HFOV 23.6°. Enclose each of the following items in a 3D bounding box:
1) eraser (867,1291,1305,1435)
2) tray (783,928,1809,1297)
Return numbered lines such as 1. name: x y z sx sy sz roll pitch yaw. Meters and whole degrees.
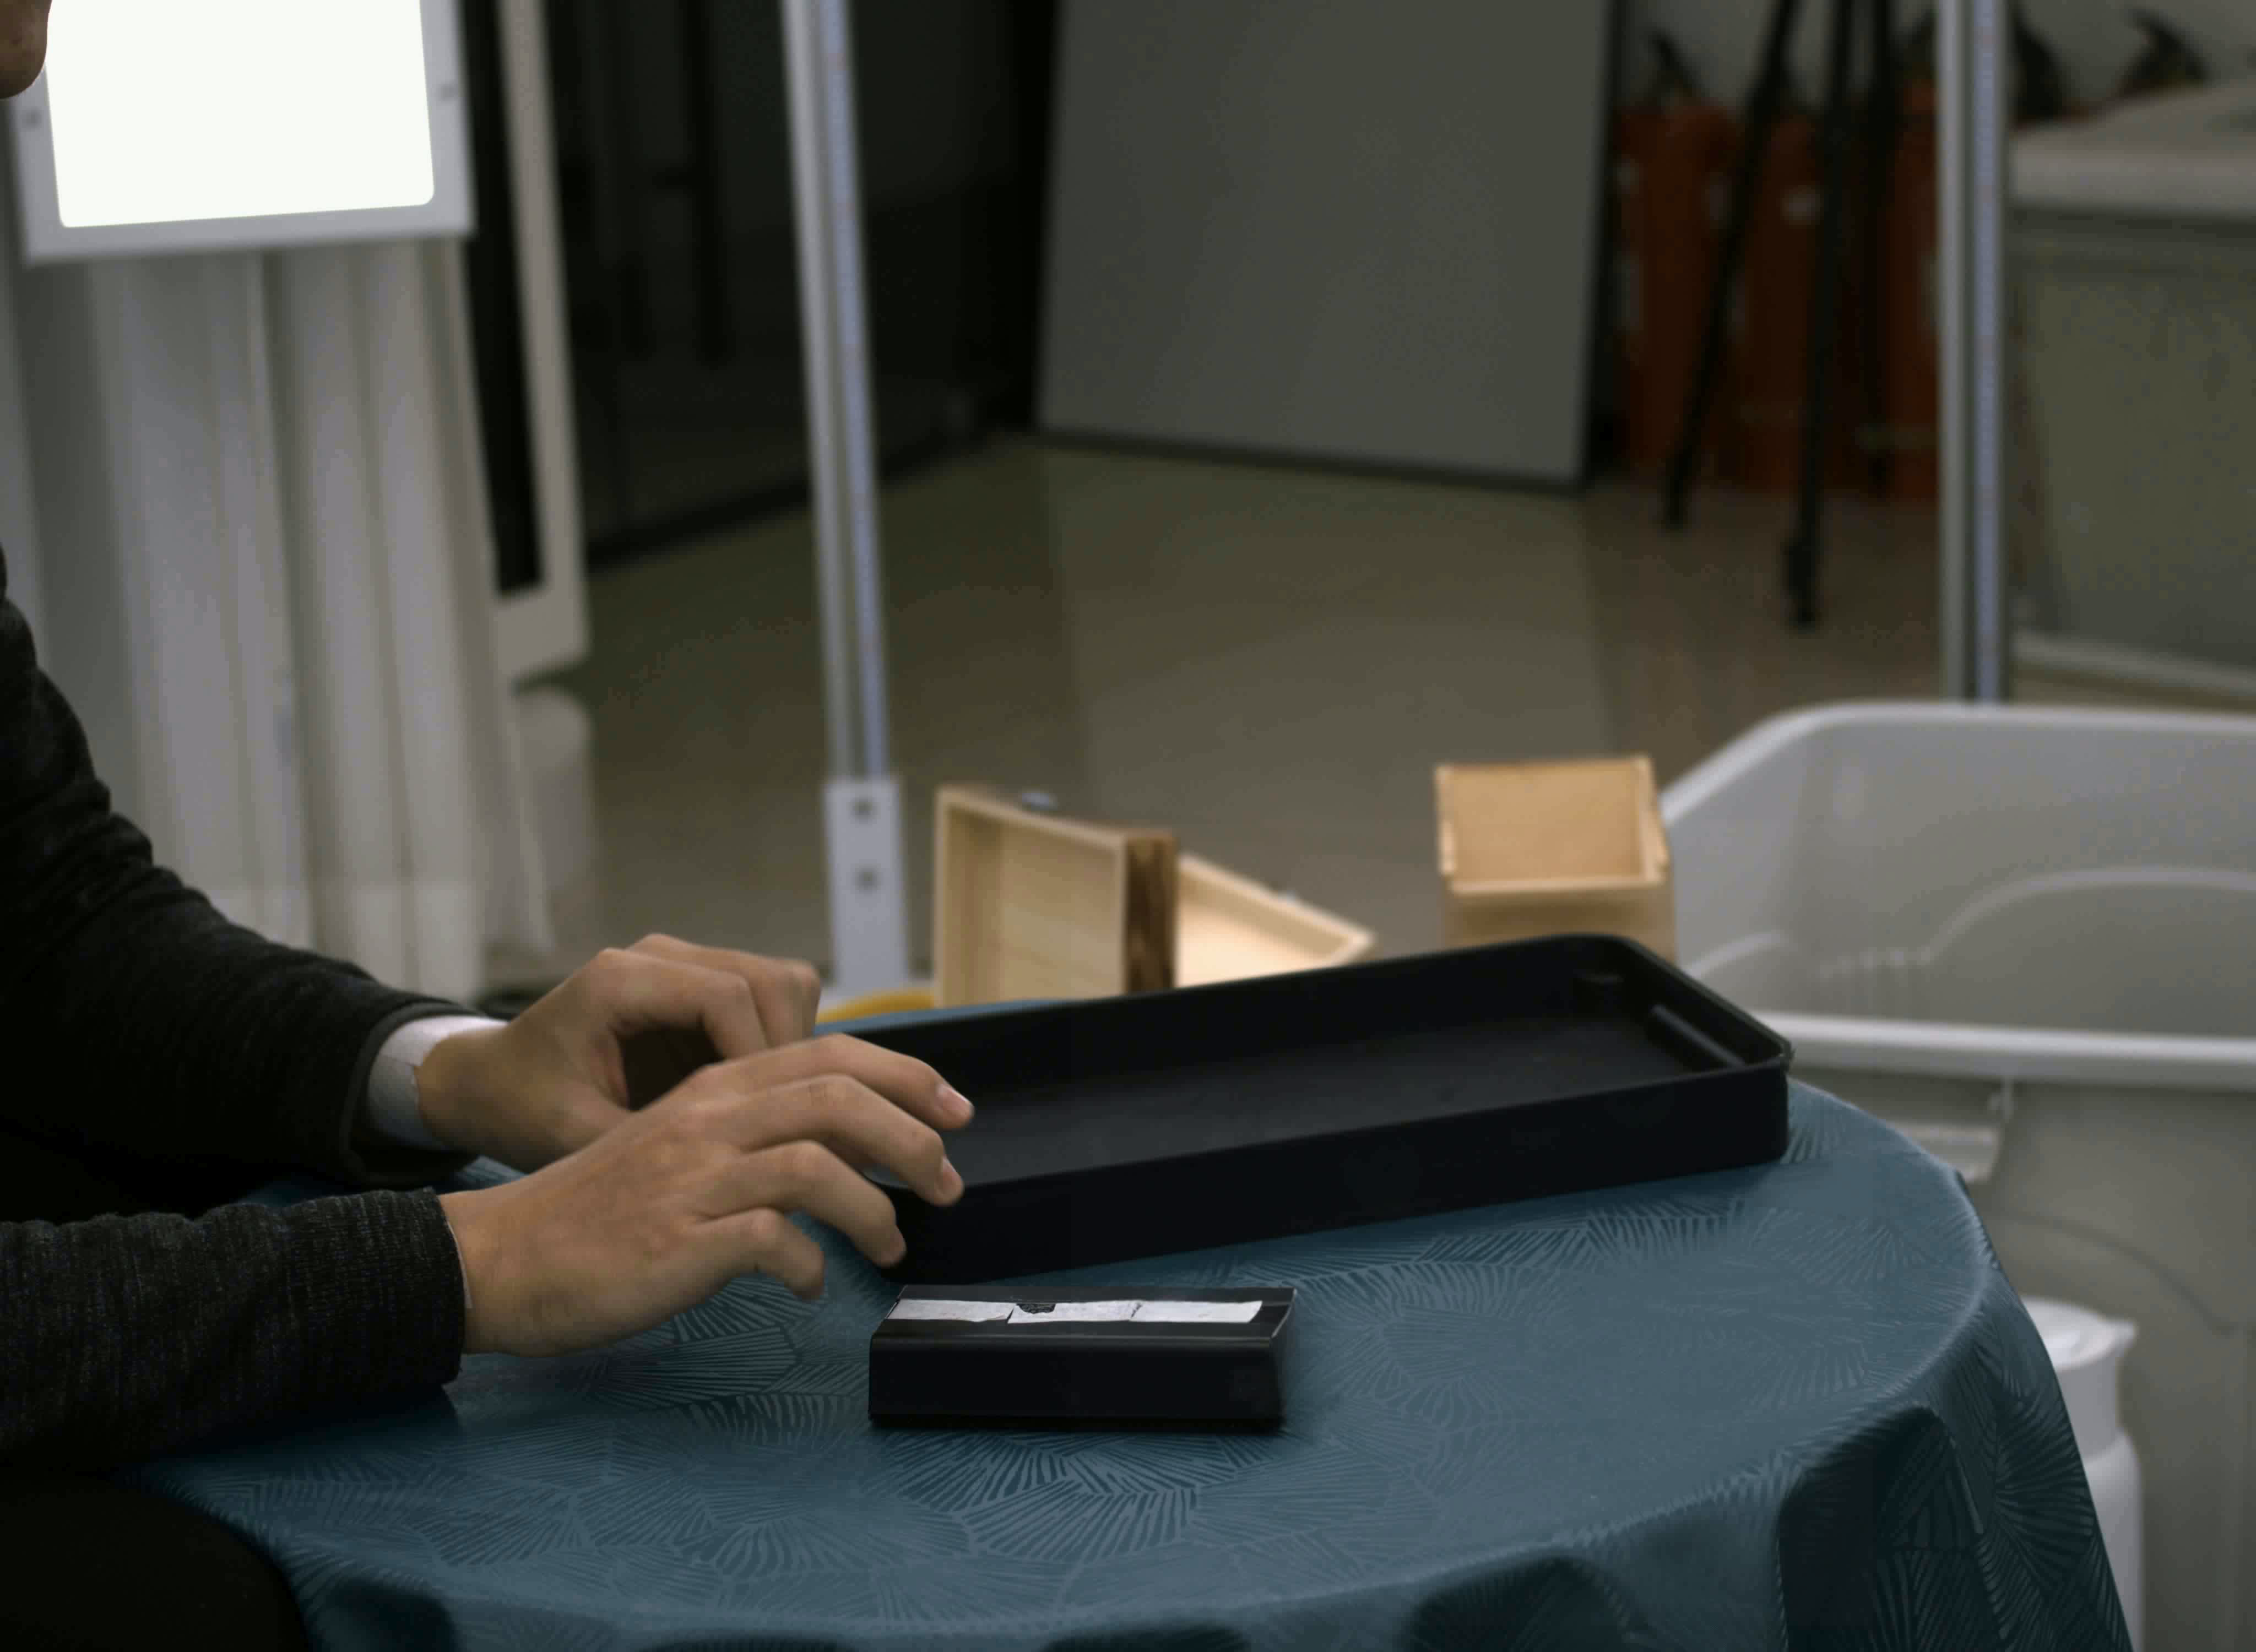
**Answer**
1. eraser: -0.010 0.156 1.572 0.125 0.031 0.053 -2 11 13
2. tray: 0.055 0.092 1.800 0.312 0.037 0.186 -9 14 -15
